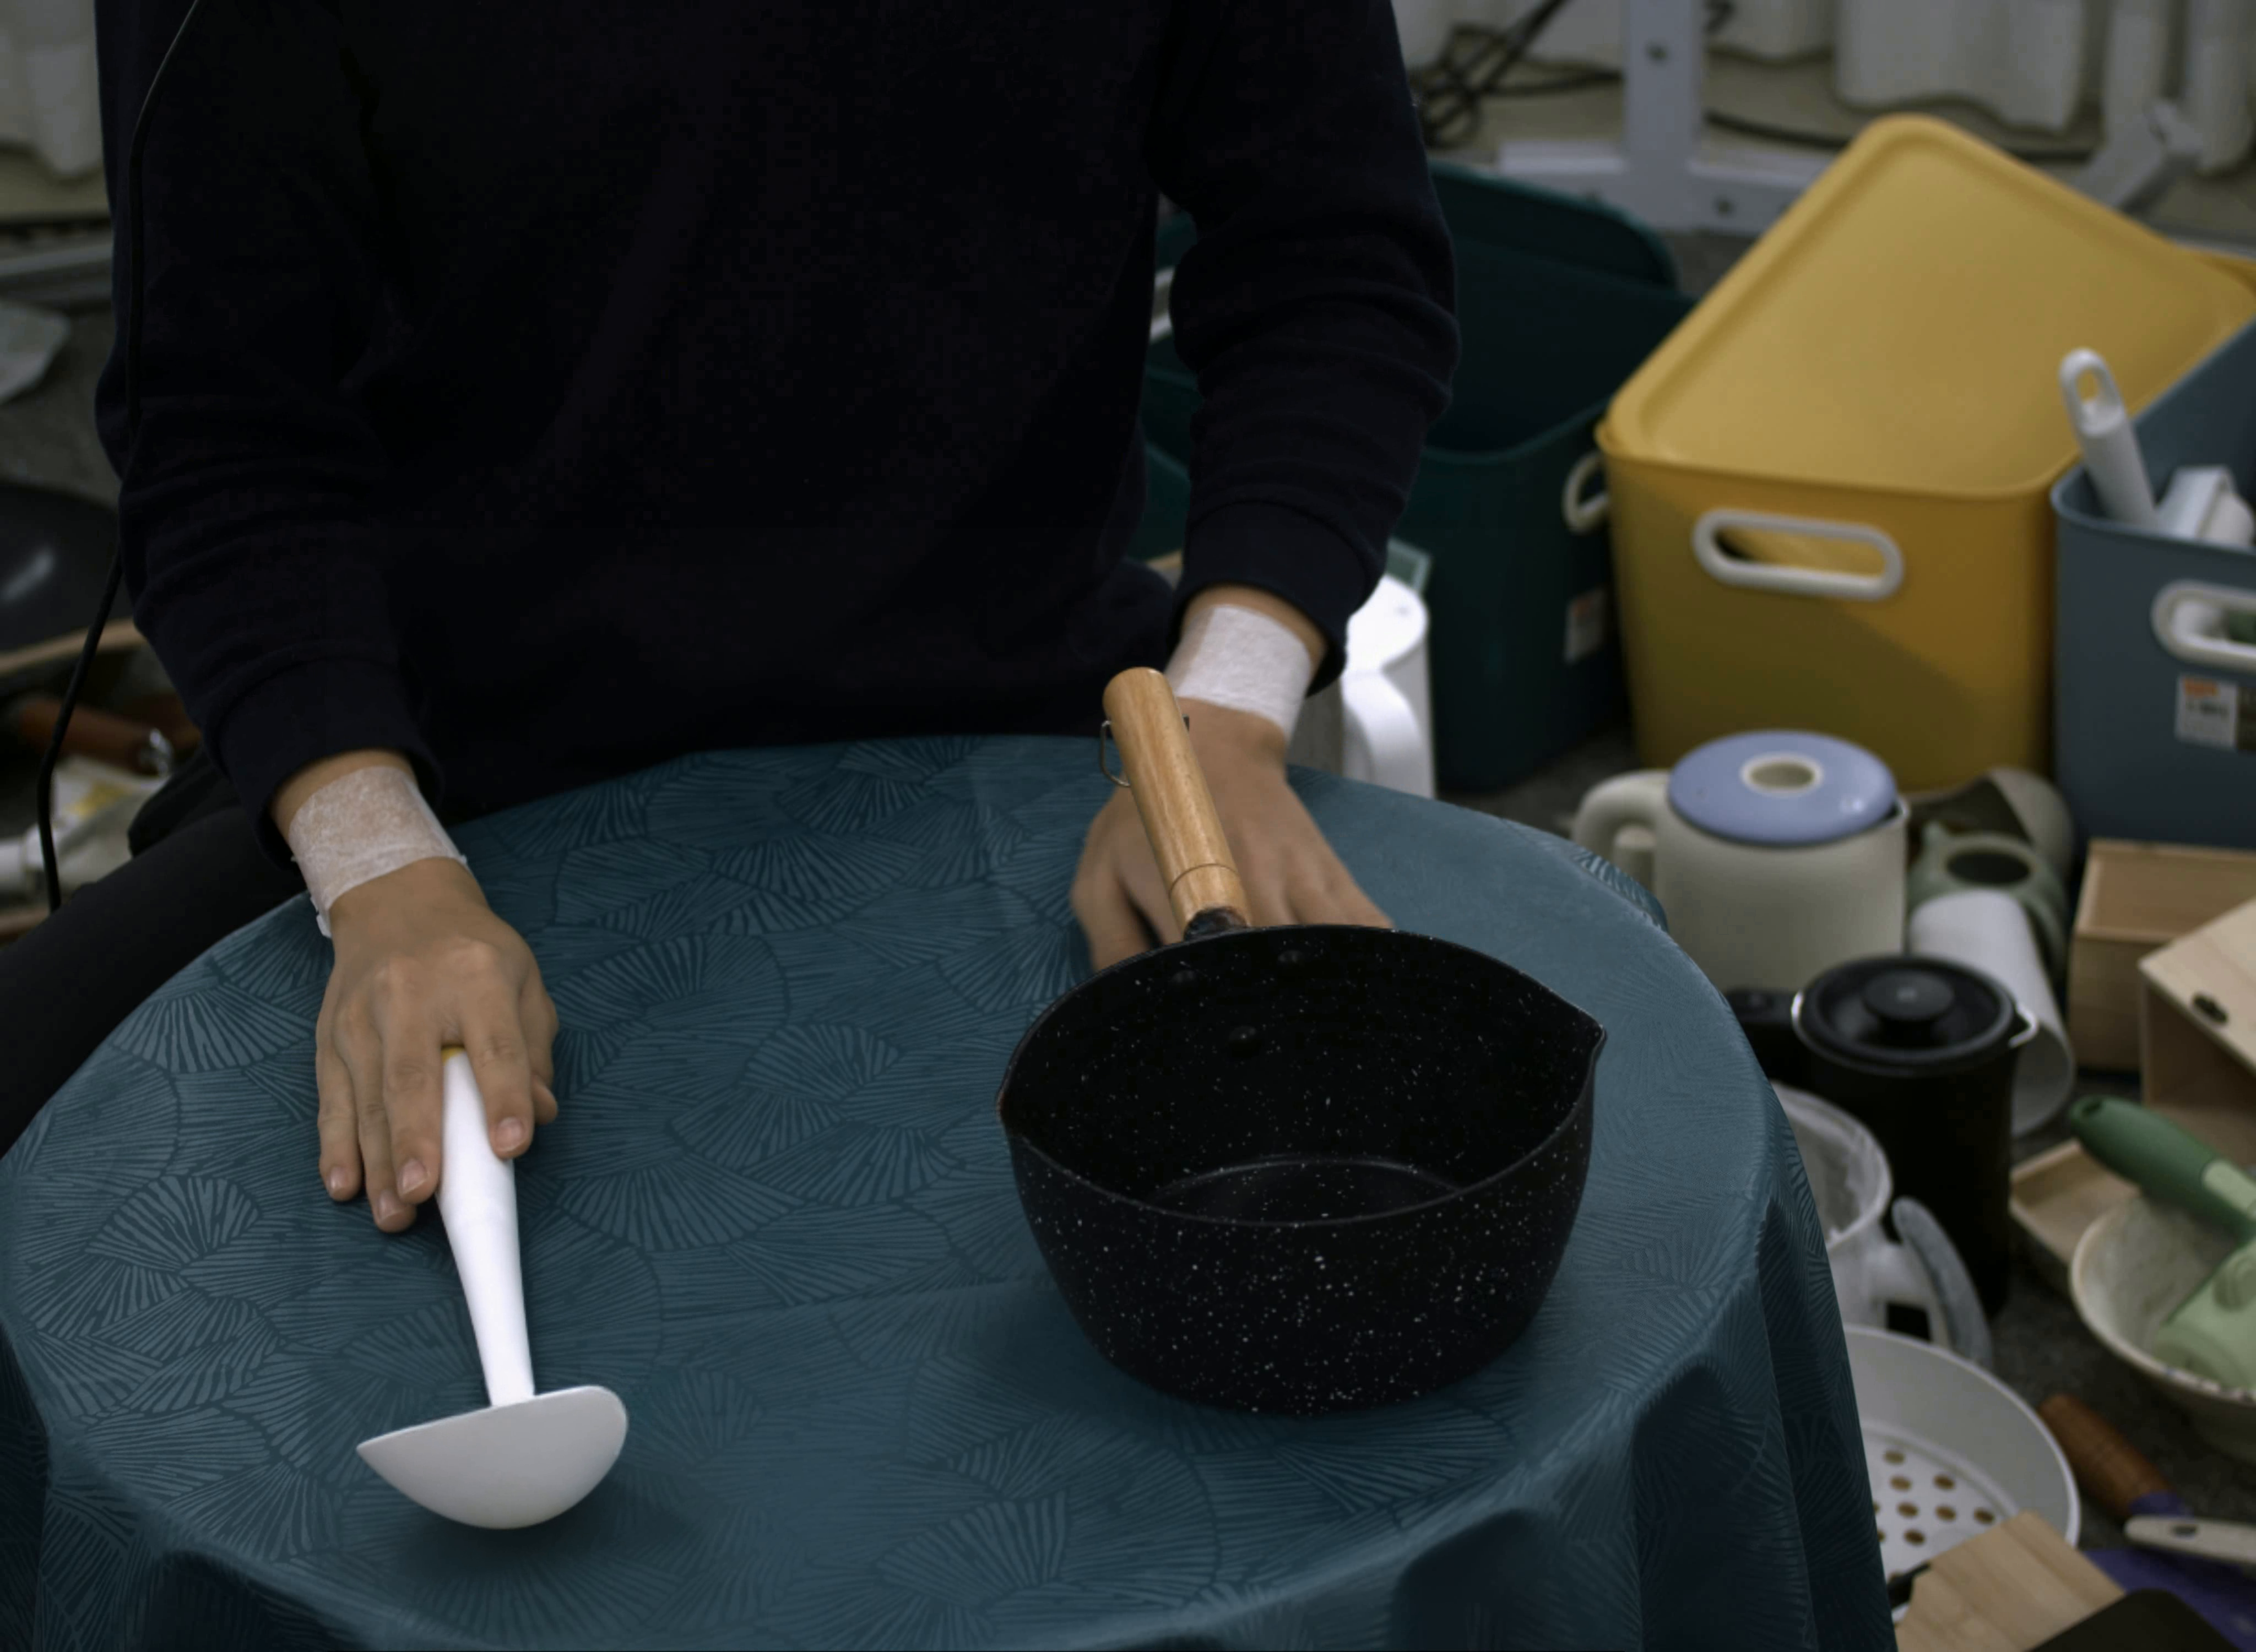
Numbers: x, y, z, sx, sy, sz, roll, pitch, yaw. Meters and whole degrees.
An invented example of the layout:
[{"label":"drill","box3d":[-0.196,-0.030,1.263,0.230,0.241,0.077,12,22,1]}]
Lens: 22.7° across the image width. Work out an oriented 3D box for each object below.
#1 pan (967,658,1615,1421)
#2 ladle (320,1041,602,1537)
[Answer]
[{"label":"pan","box3d":[0.038,0.066,1.849,0.207,0.107,0.347,-10,29,-10]},{"label":"ladle","box3d":[-0.215,0.136,1.790,0.090,0.069,0.296,-20,28,0]}]
